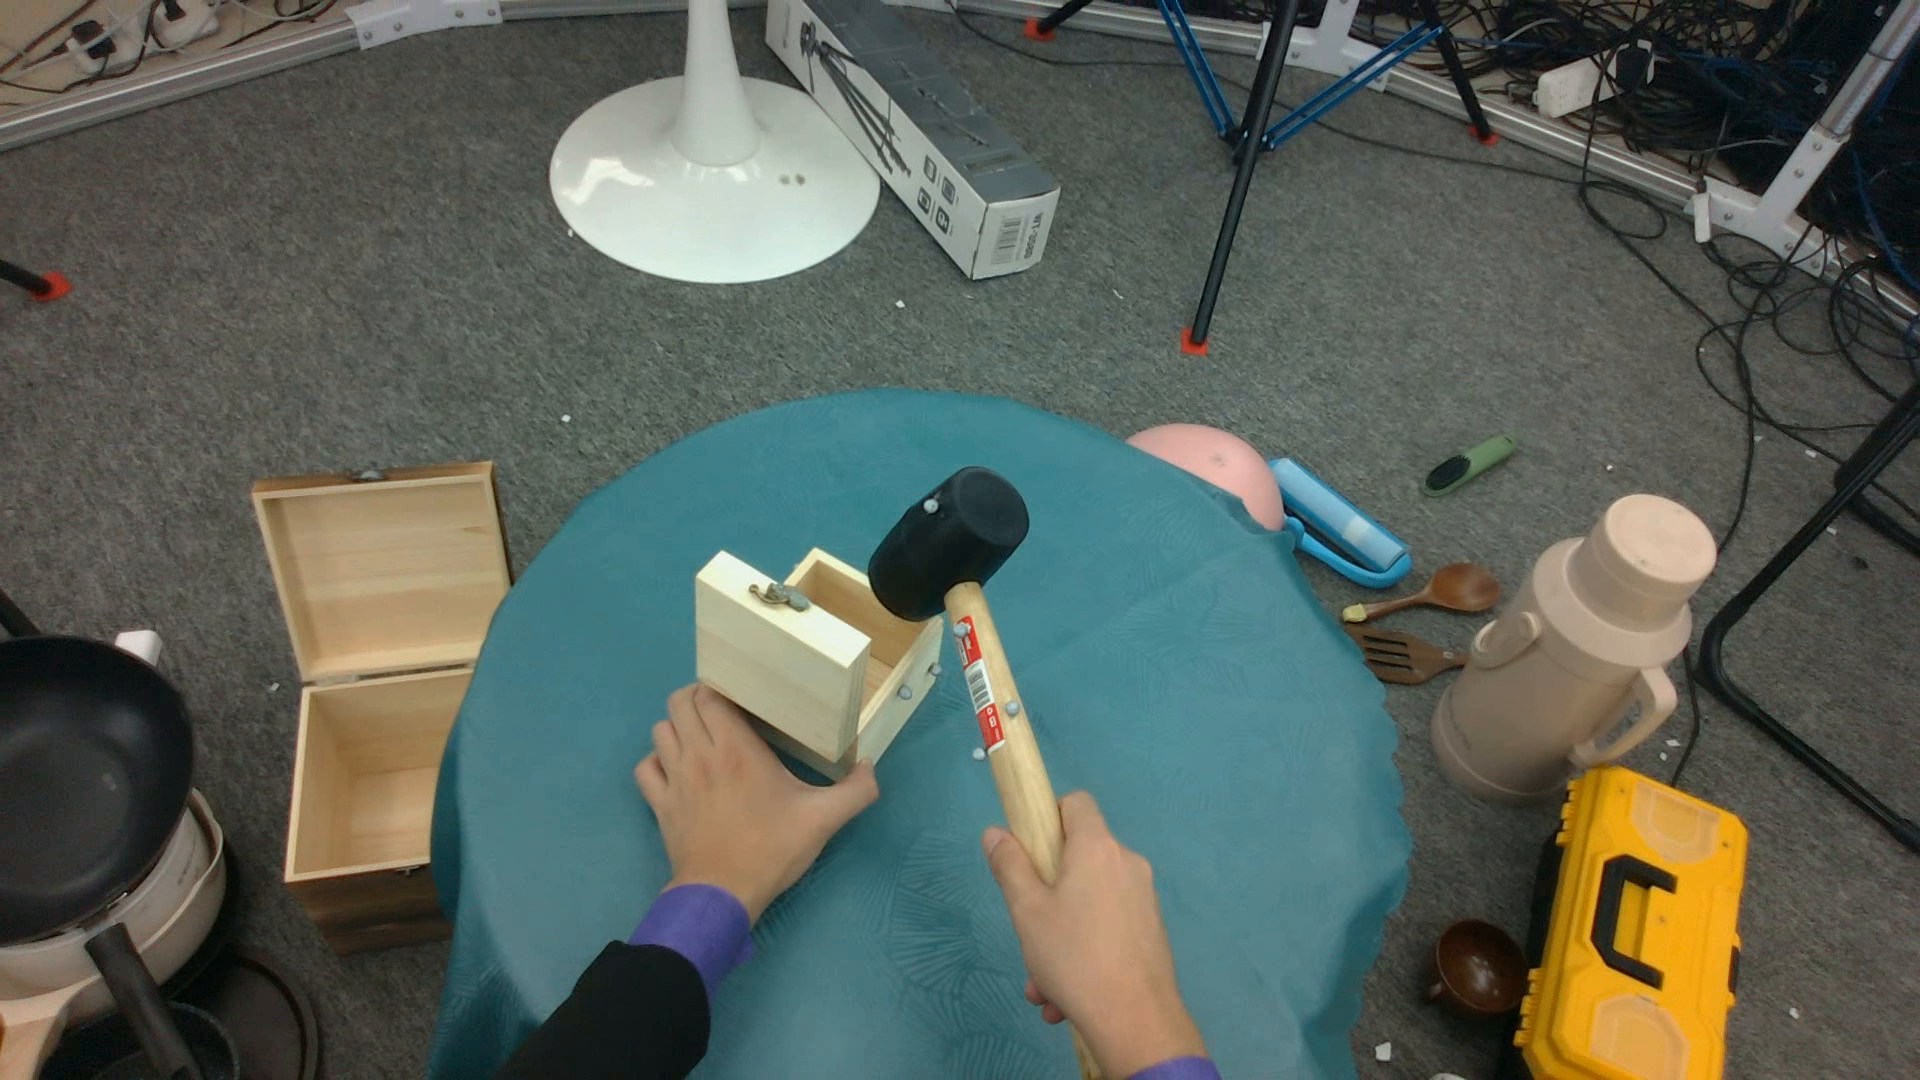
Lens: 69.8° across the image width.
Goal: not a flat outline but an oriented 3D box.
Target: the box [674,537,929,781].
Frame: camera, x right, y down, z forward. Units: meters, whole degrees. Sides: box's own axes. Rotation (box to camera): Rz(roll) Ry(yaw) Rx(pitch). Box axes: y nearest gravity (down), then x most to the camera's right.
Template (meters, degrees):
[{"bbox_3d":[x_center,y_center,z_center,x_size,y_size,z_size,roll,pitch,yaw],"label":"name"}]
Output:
[{"bbox_3d":[-0.090,0.051,0.839,0.102,0.183,0.134,26,55,13],"label":"box"}]

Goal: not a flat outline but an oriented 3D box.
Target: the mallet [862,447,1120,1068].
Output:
[{"bbox_3d":[0.018,0.113,0.759,0.064,0.101,0.340,4,60,-33],"label":"mallet"}]
